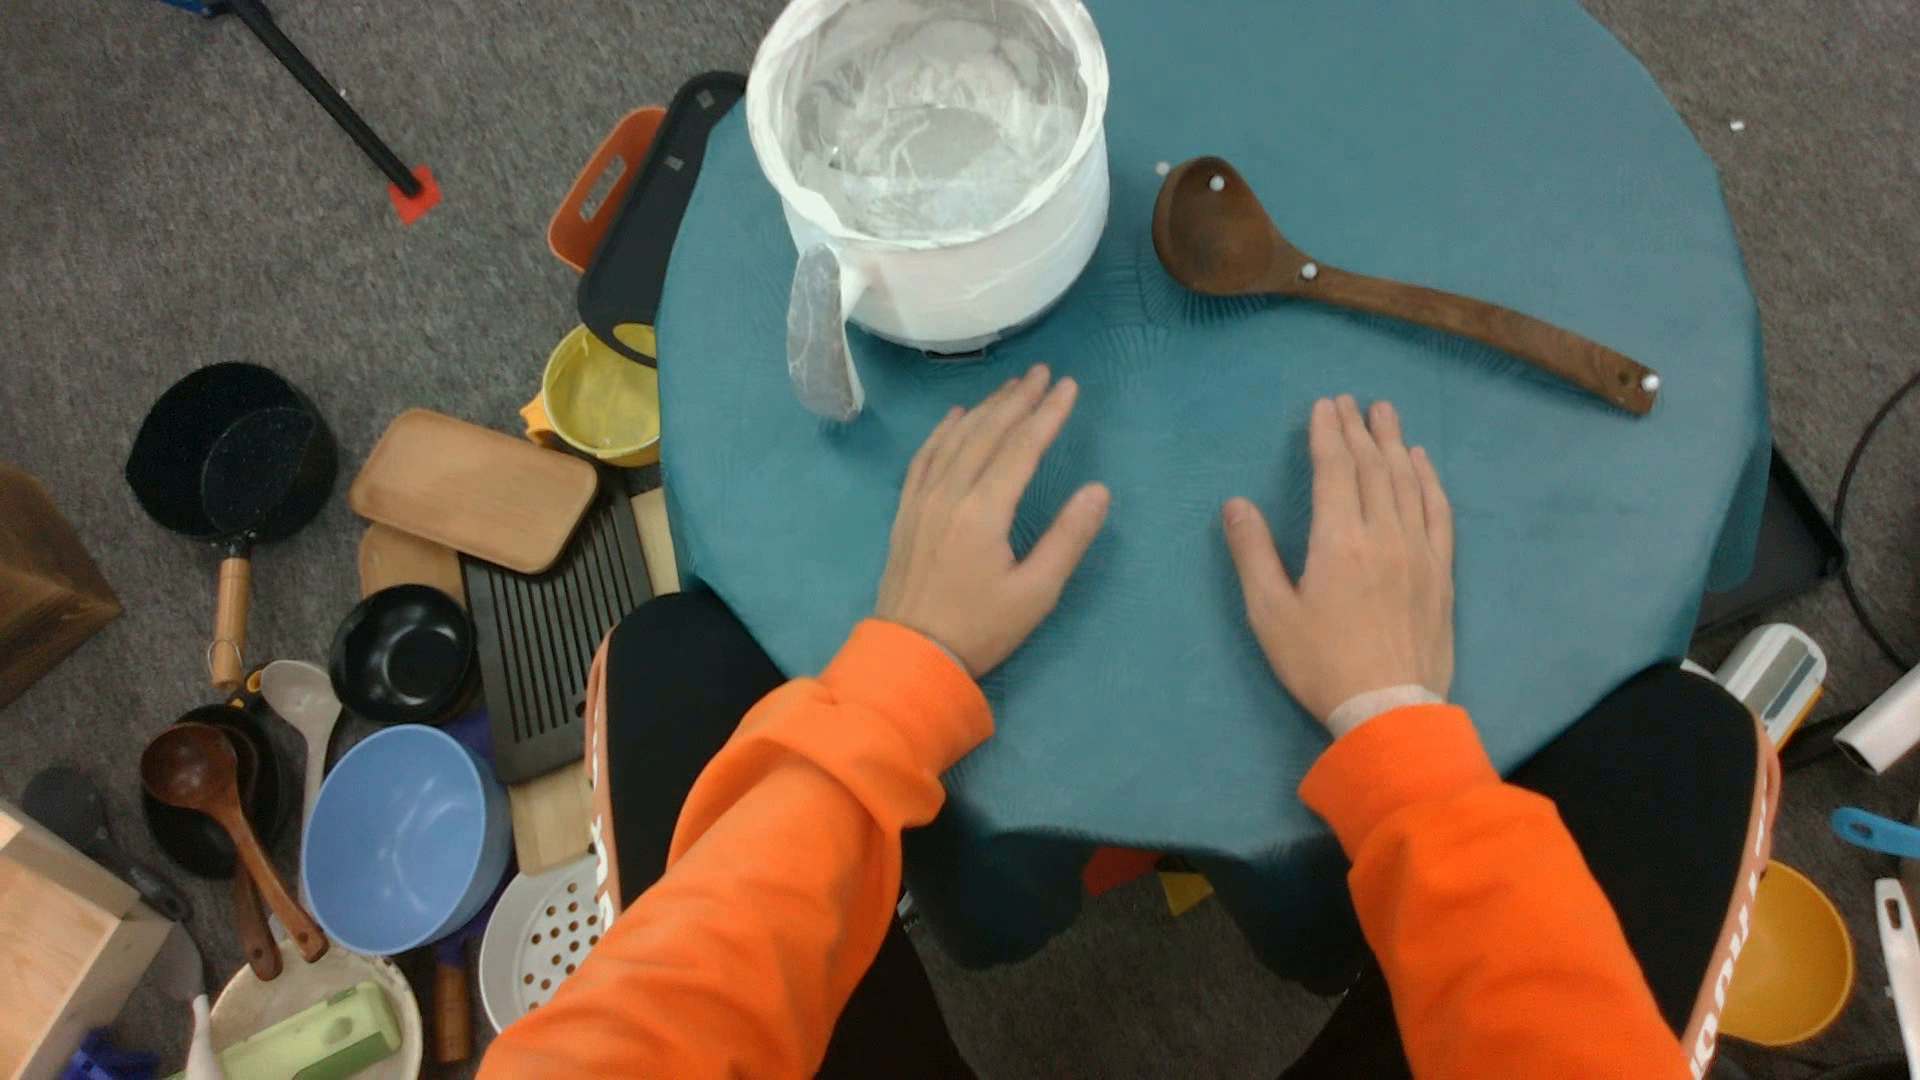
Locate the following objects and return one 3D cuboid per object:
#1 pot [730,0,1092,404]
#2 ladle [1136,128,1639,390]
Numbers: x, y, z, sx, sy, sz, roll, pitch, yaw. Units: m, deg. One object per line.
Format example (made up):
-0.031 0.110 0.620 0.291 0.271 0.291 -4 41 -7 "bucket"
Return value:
-0.031 -0.187 0.723 0.178 0.136 0.234 24 77 13 "pot"
0.224 -0.144 0.718 0.274 0.071 0.076 21 79 13 "ladle"
